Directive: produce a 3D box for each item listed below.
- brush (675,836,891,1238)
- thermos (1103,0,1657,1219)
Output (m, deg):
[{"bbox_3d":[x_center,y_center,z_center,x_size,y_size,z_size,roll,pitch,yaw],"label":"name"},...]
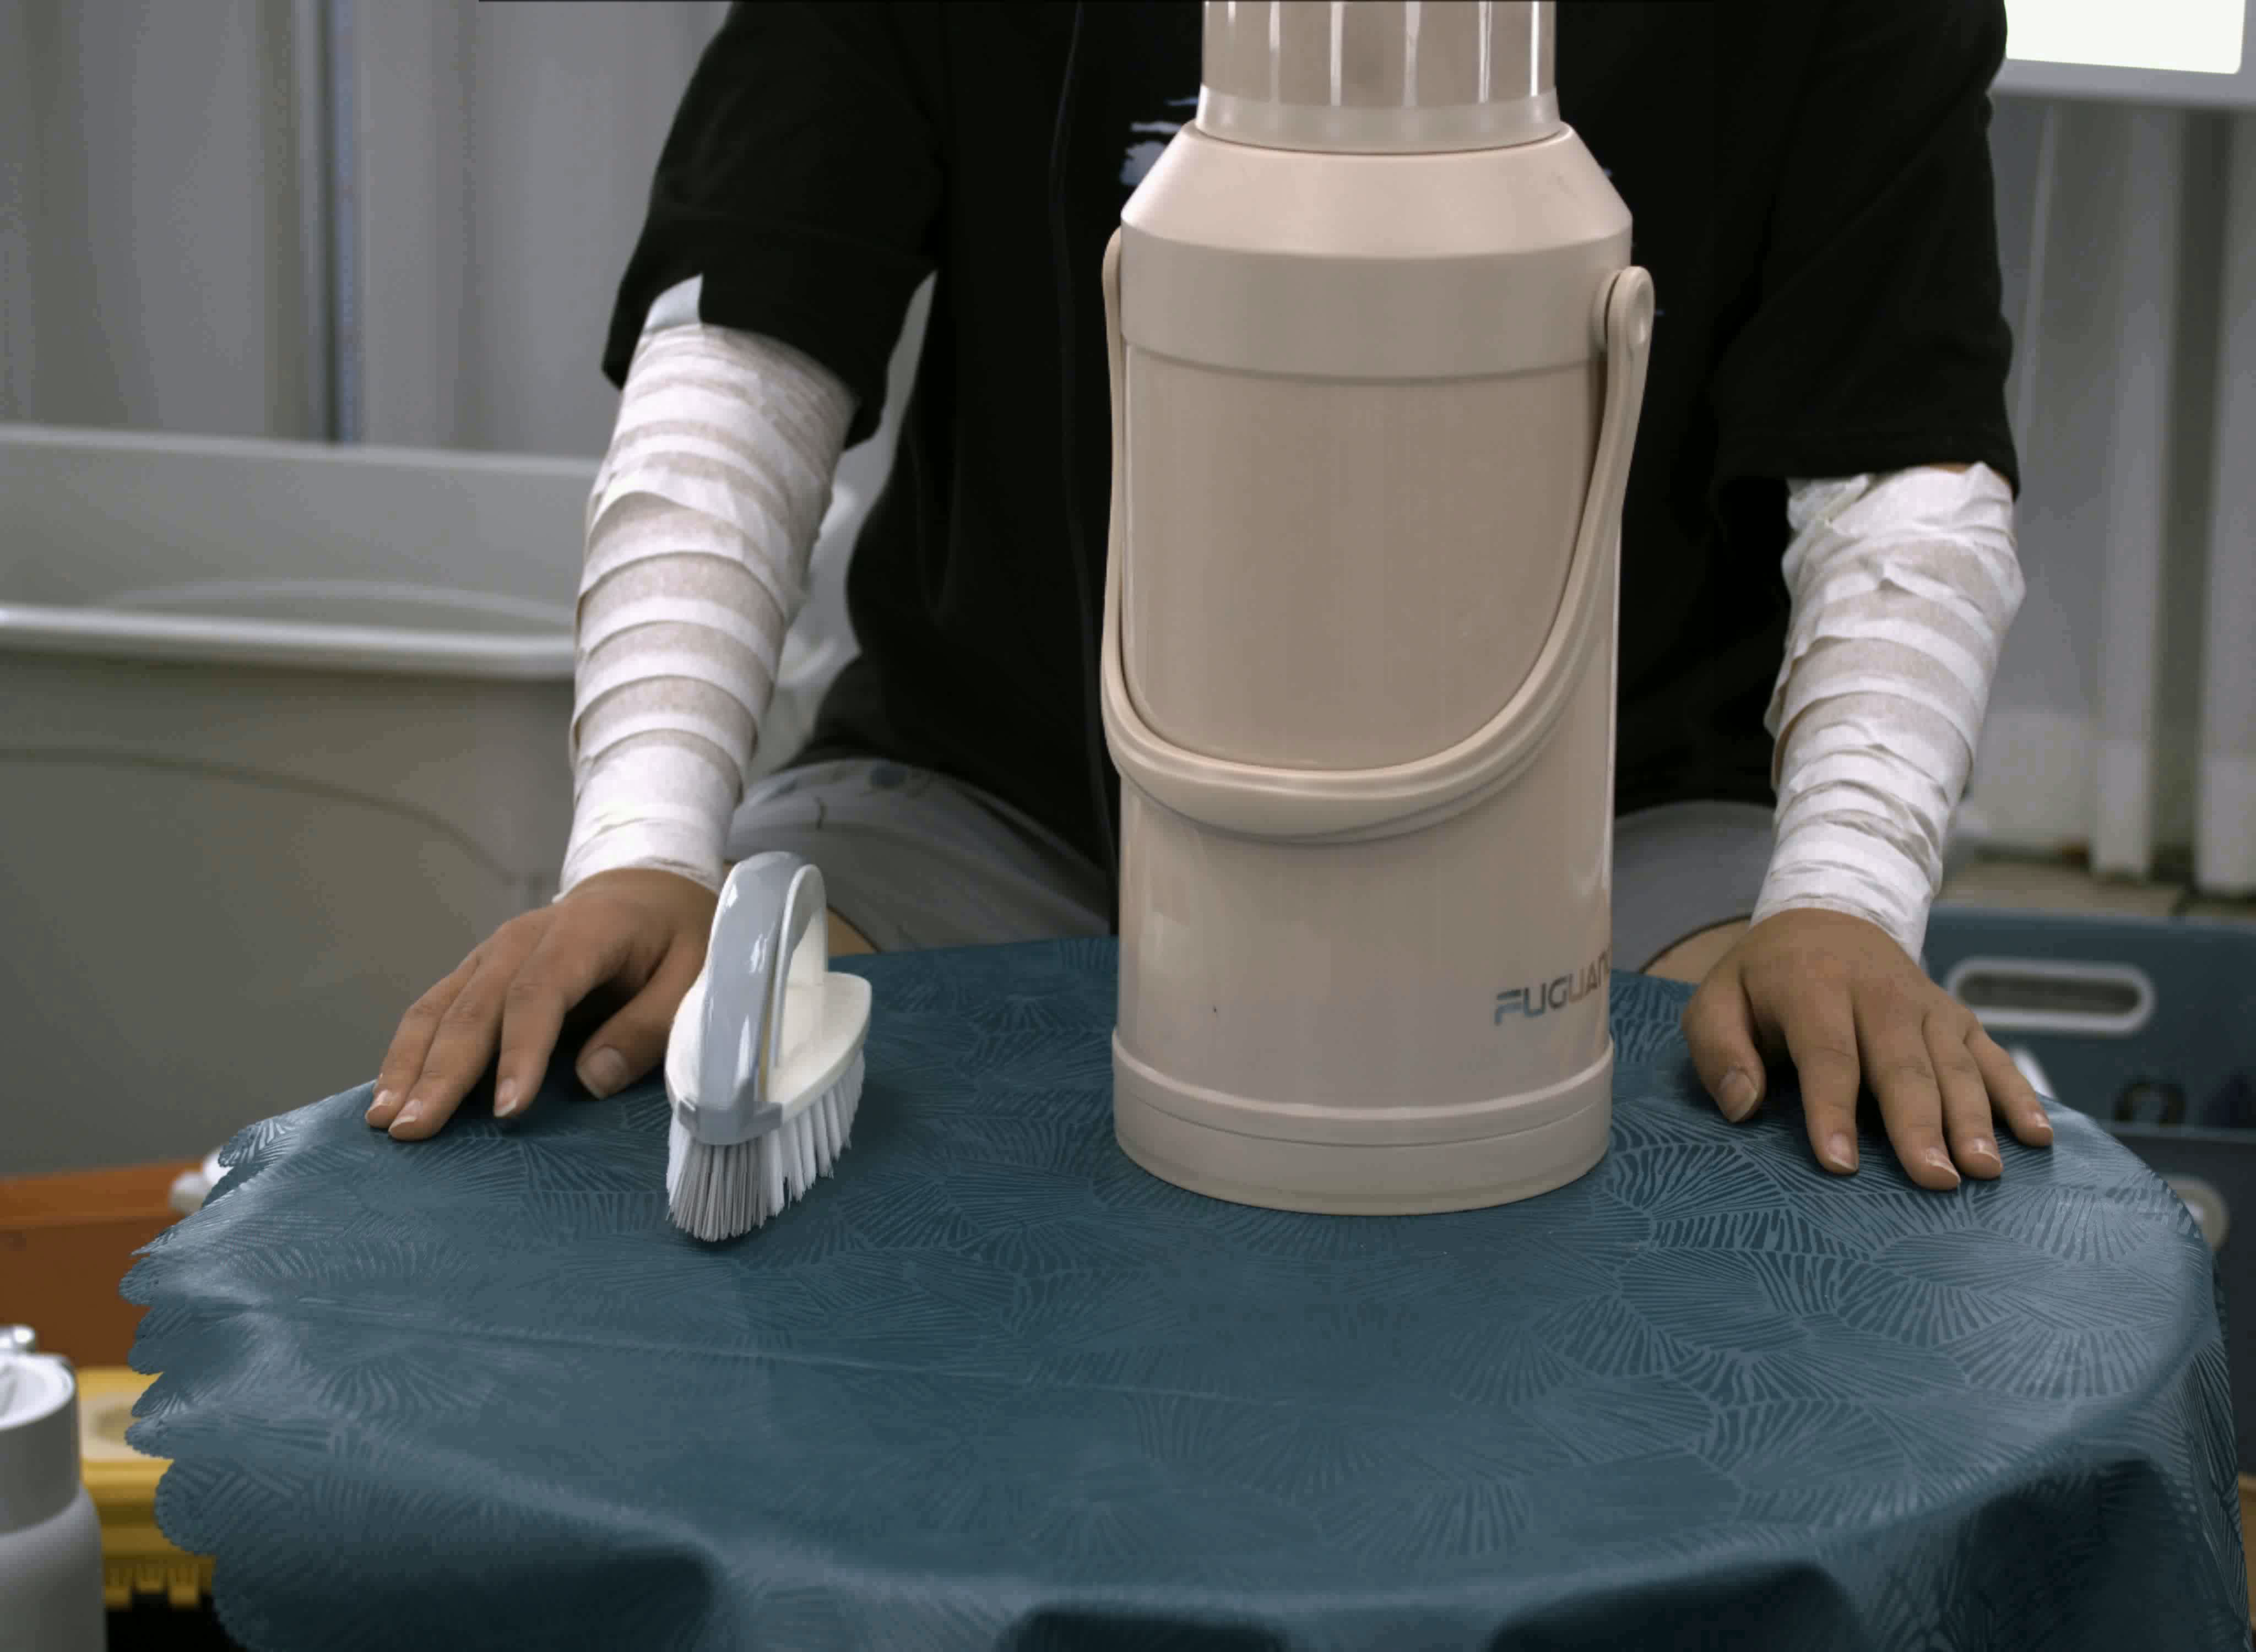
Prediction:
[{"bbox_3d":[-0.113,0.060,1.637,0.061,0.095,0.175,-4,17,6],"label":"brush"},{"bbox_3d":[0.083,-0.095,1.634,0.173,0.409,0.207,7,17,25],"label":"thermos"}]
